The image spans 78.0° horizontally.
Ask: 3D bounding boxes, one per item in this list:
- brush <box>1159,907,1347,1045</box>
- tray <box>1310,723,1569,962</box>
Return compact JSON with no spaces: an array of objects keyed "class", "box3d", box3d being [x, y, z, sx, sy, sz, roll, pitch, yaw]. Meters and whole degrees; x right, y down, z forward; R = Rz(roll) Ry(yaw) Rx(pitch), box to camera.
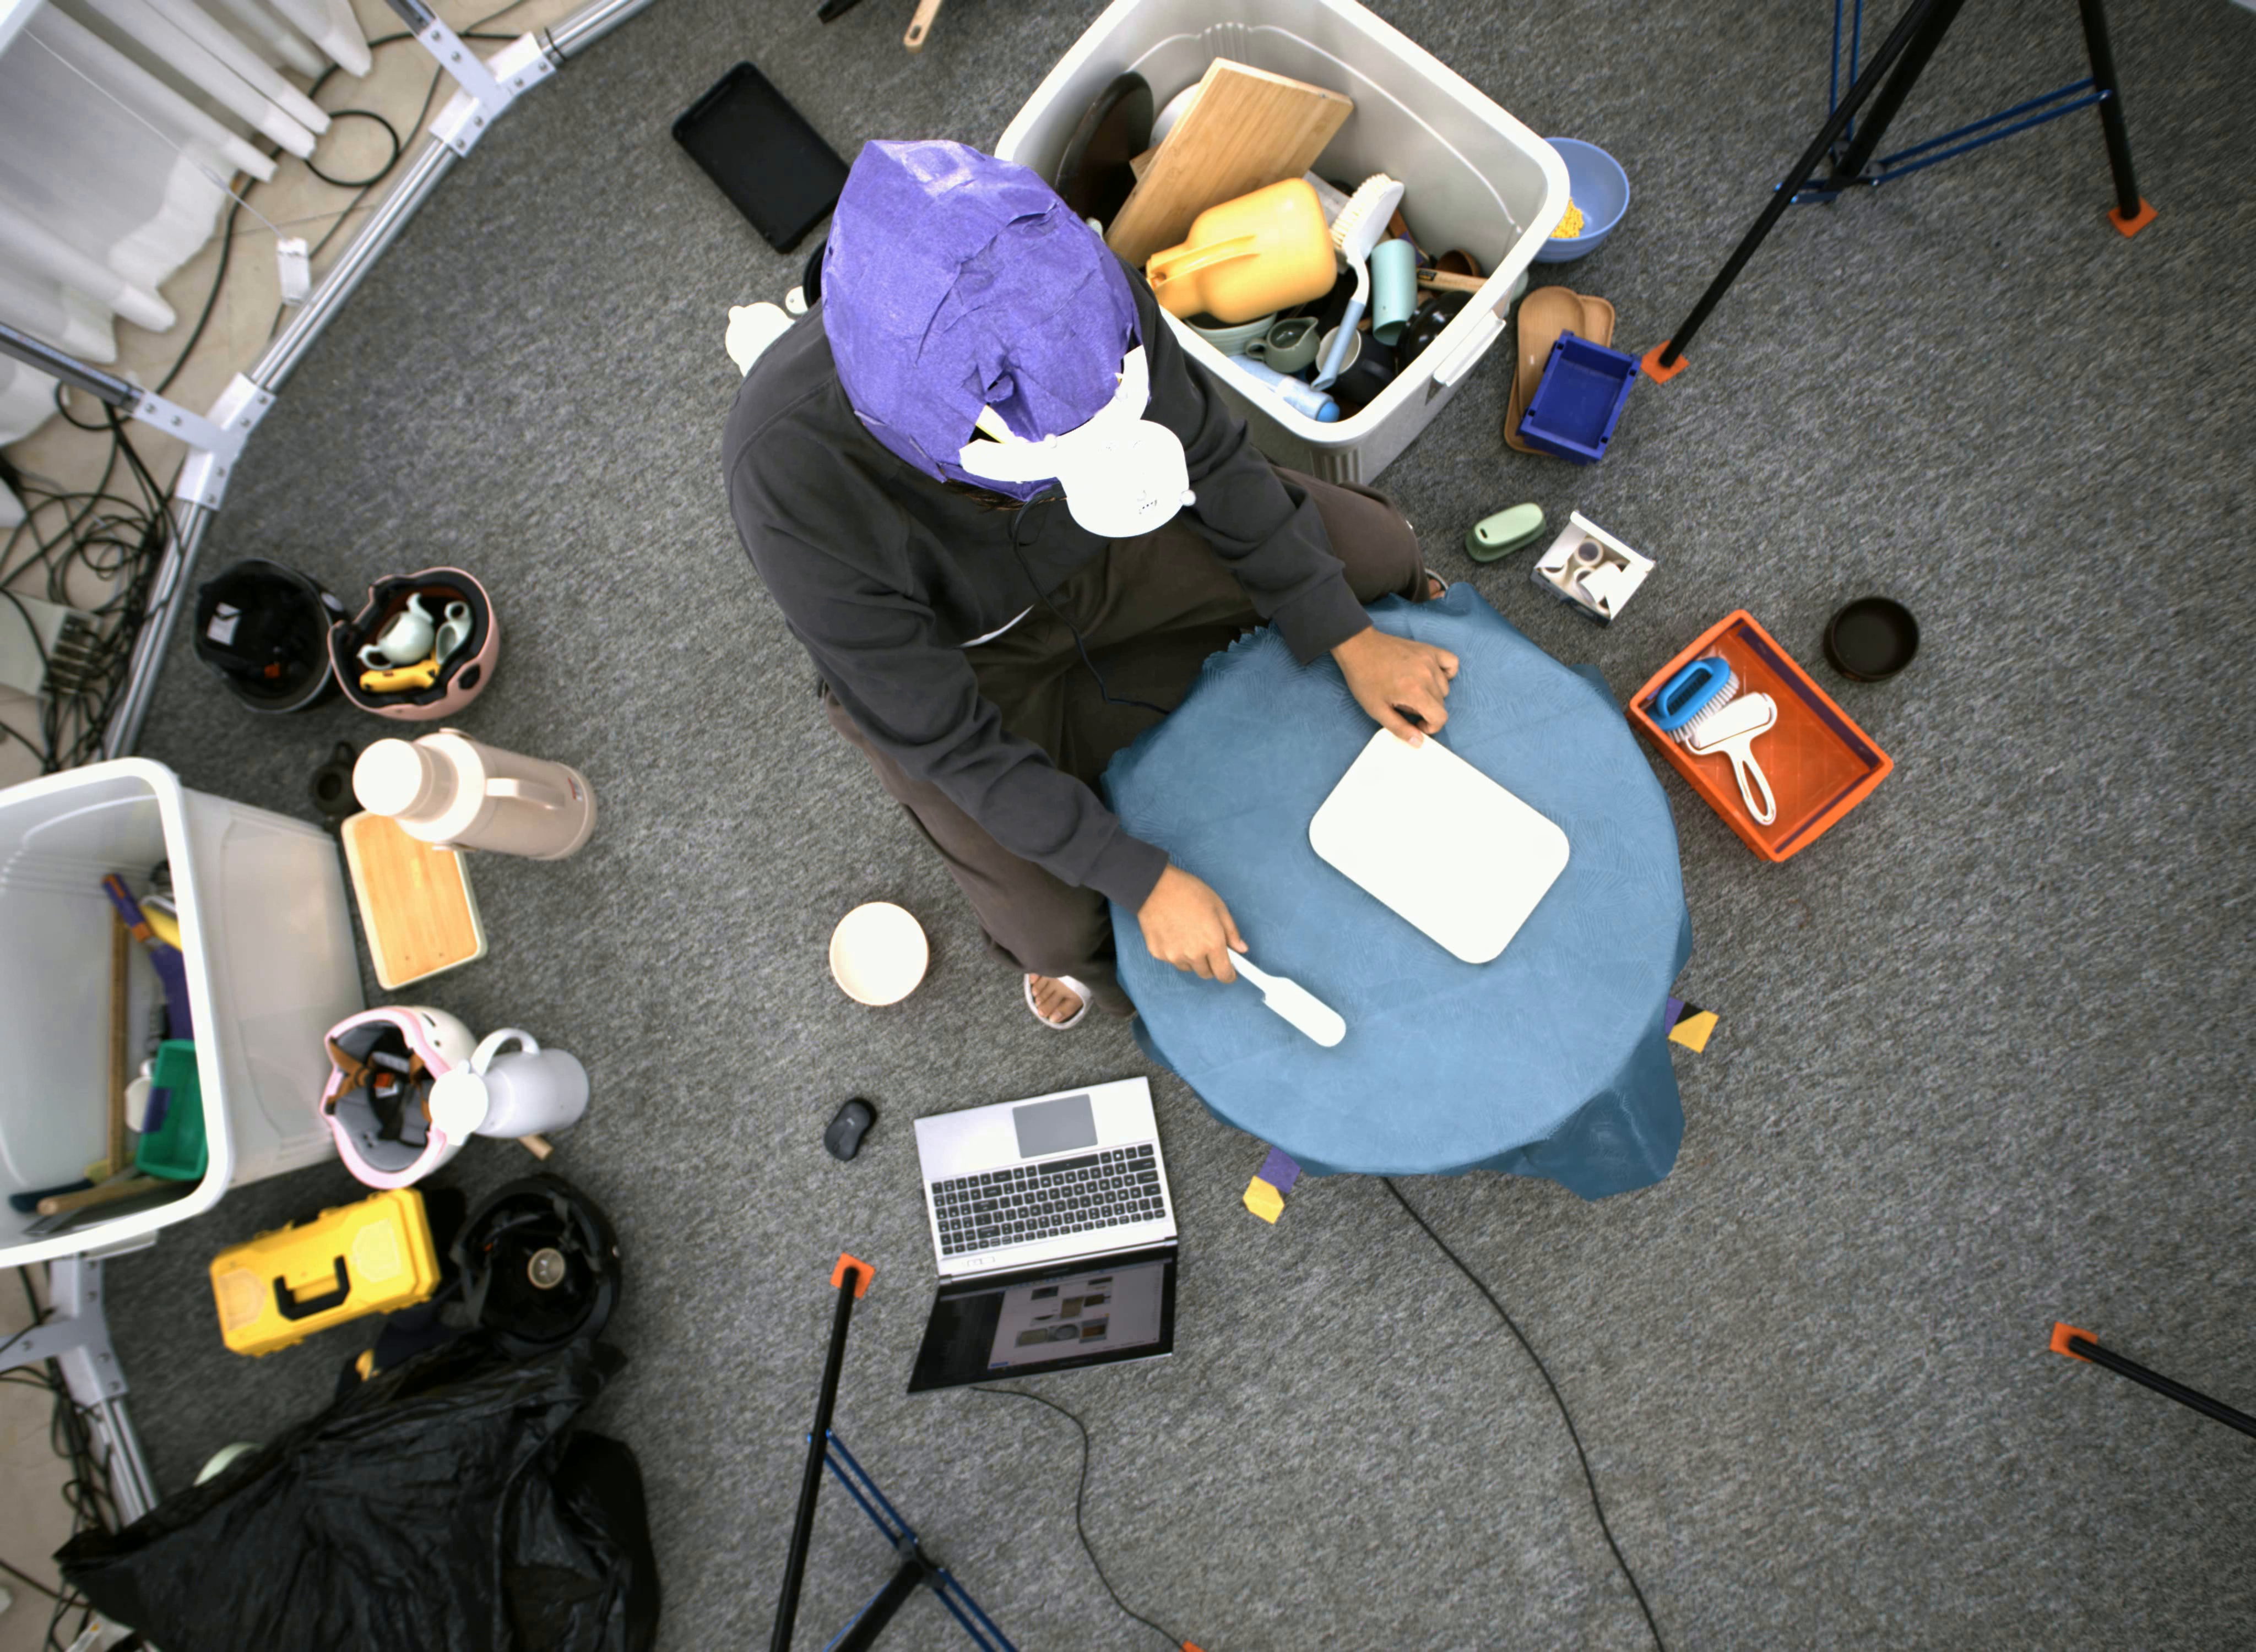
[{"class":"brush","box3d":[0.130,0.156,1.455,0.228,0.050,0.038,33,88,8]},{"class":"tray","box3d":[0.325,0.015,1.444,0.239,0.017,0.171,37,93,11]}]
